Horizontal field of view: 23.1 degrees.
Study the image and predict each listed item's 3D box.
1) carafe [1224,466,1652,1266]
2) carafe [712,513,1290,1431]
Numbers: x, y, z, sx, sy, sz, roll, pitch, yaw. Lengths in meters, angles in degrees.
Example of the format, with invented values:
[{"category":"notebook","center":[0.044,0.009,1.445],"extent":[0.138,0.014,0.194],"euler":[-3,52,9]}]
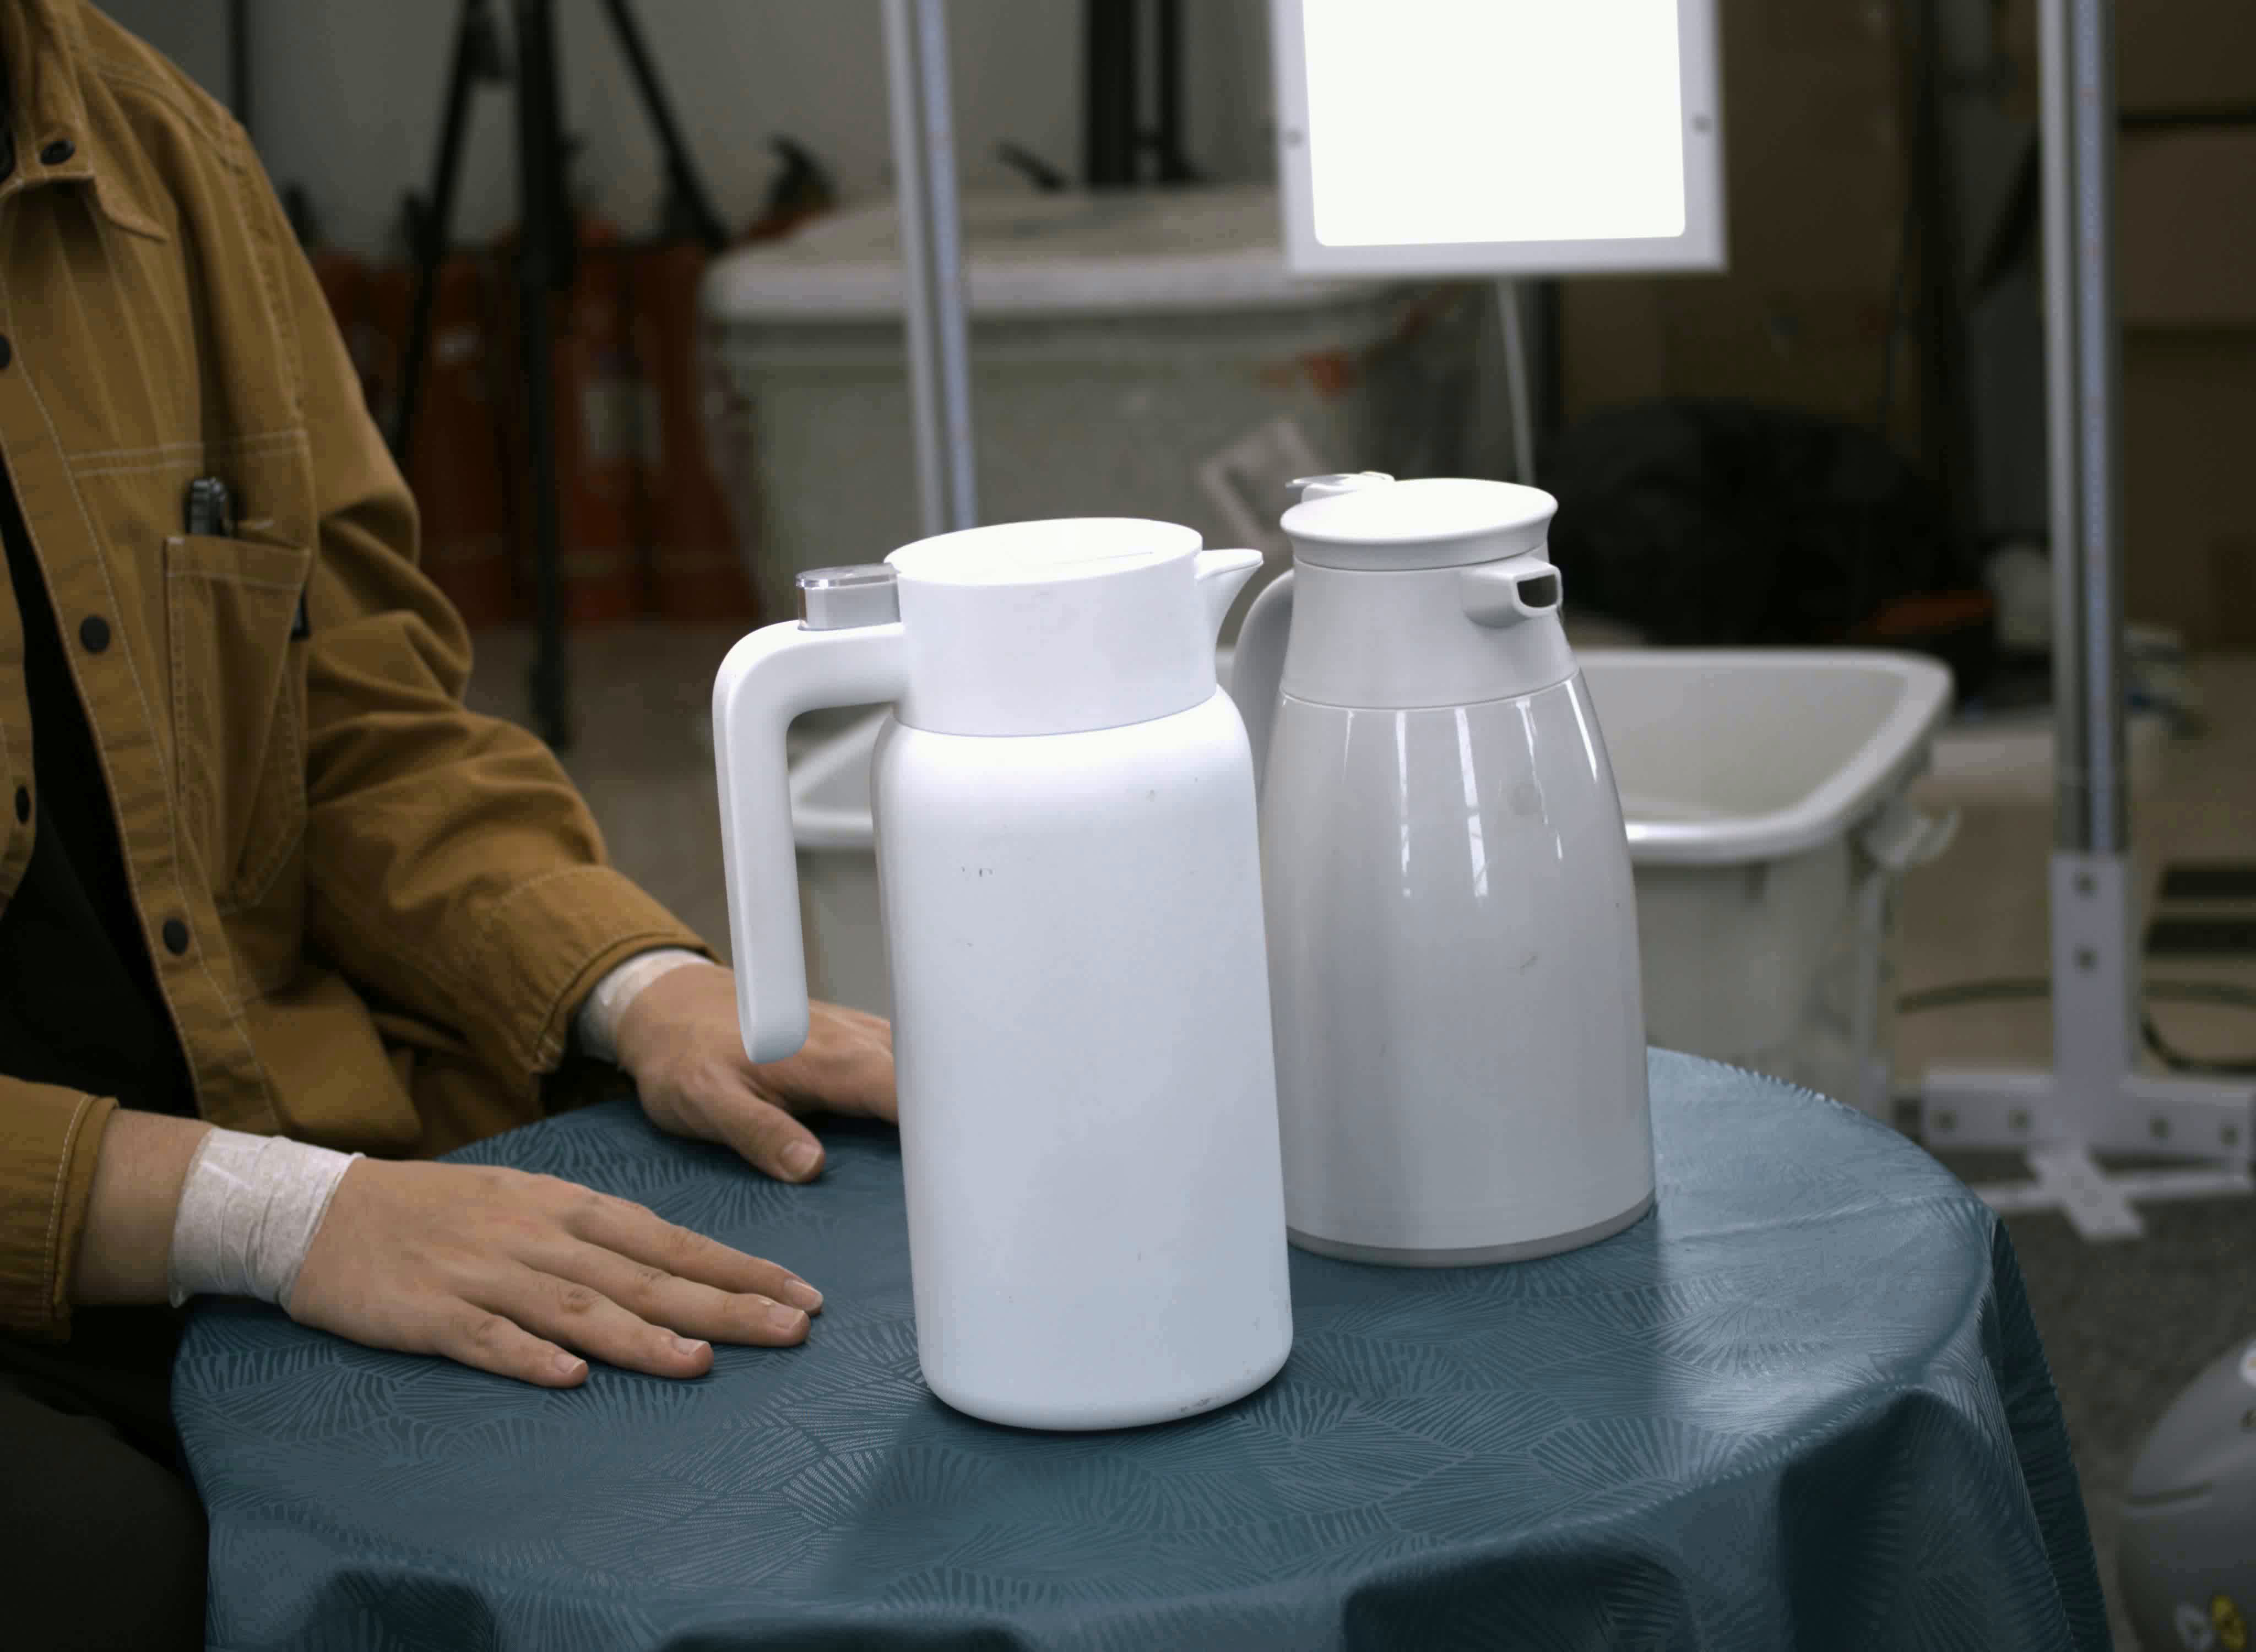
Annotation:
[{"category":"carafe","center":[0.091,0.005,1.837],"extent":[0.129,0.249,0.171],"euler":[-13,15,-32]},{"category":"carafe","center":[-0.033,0.046,1.680],"extent":[0.171,0.270,0.125],"euler":[-8,16,-11]}]
